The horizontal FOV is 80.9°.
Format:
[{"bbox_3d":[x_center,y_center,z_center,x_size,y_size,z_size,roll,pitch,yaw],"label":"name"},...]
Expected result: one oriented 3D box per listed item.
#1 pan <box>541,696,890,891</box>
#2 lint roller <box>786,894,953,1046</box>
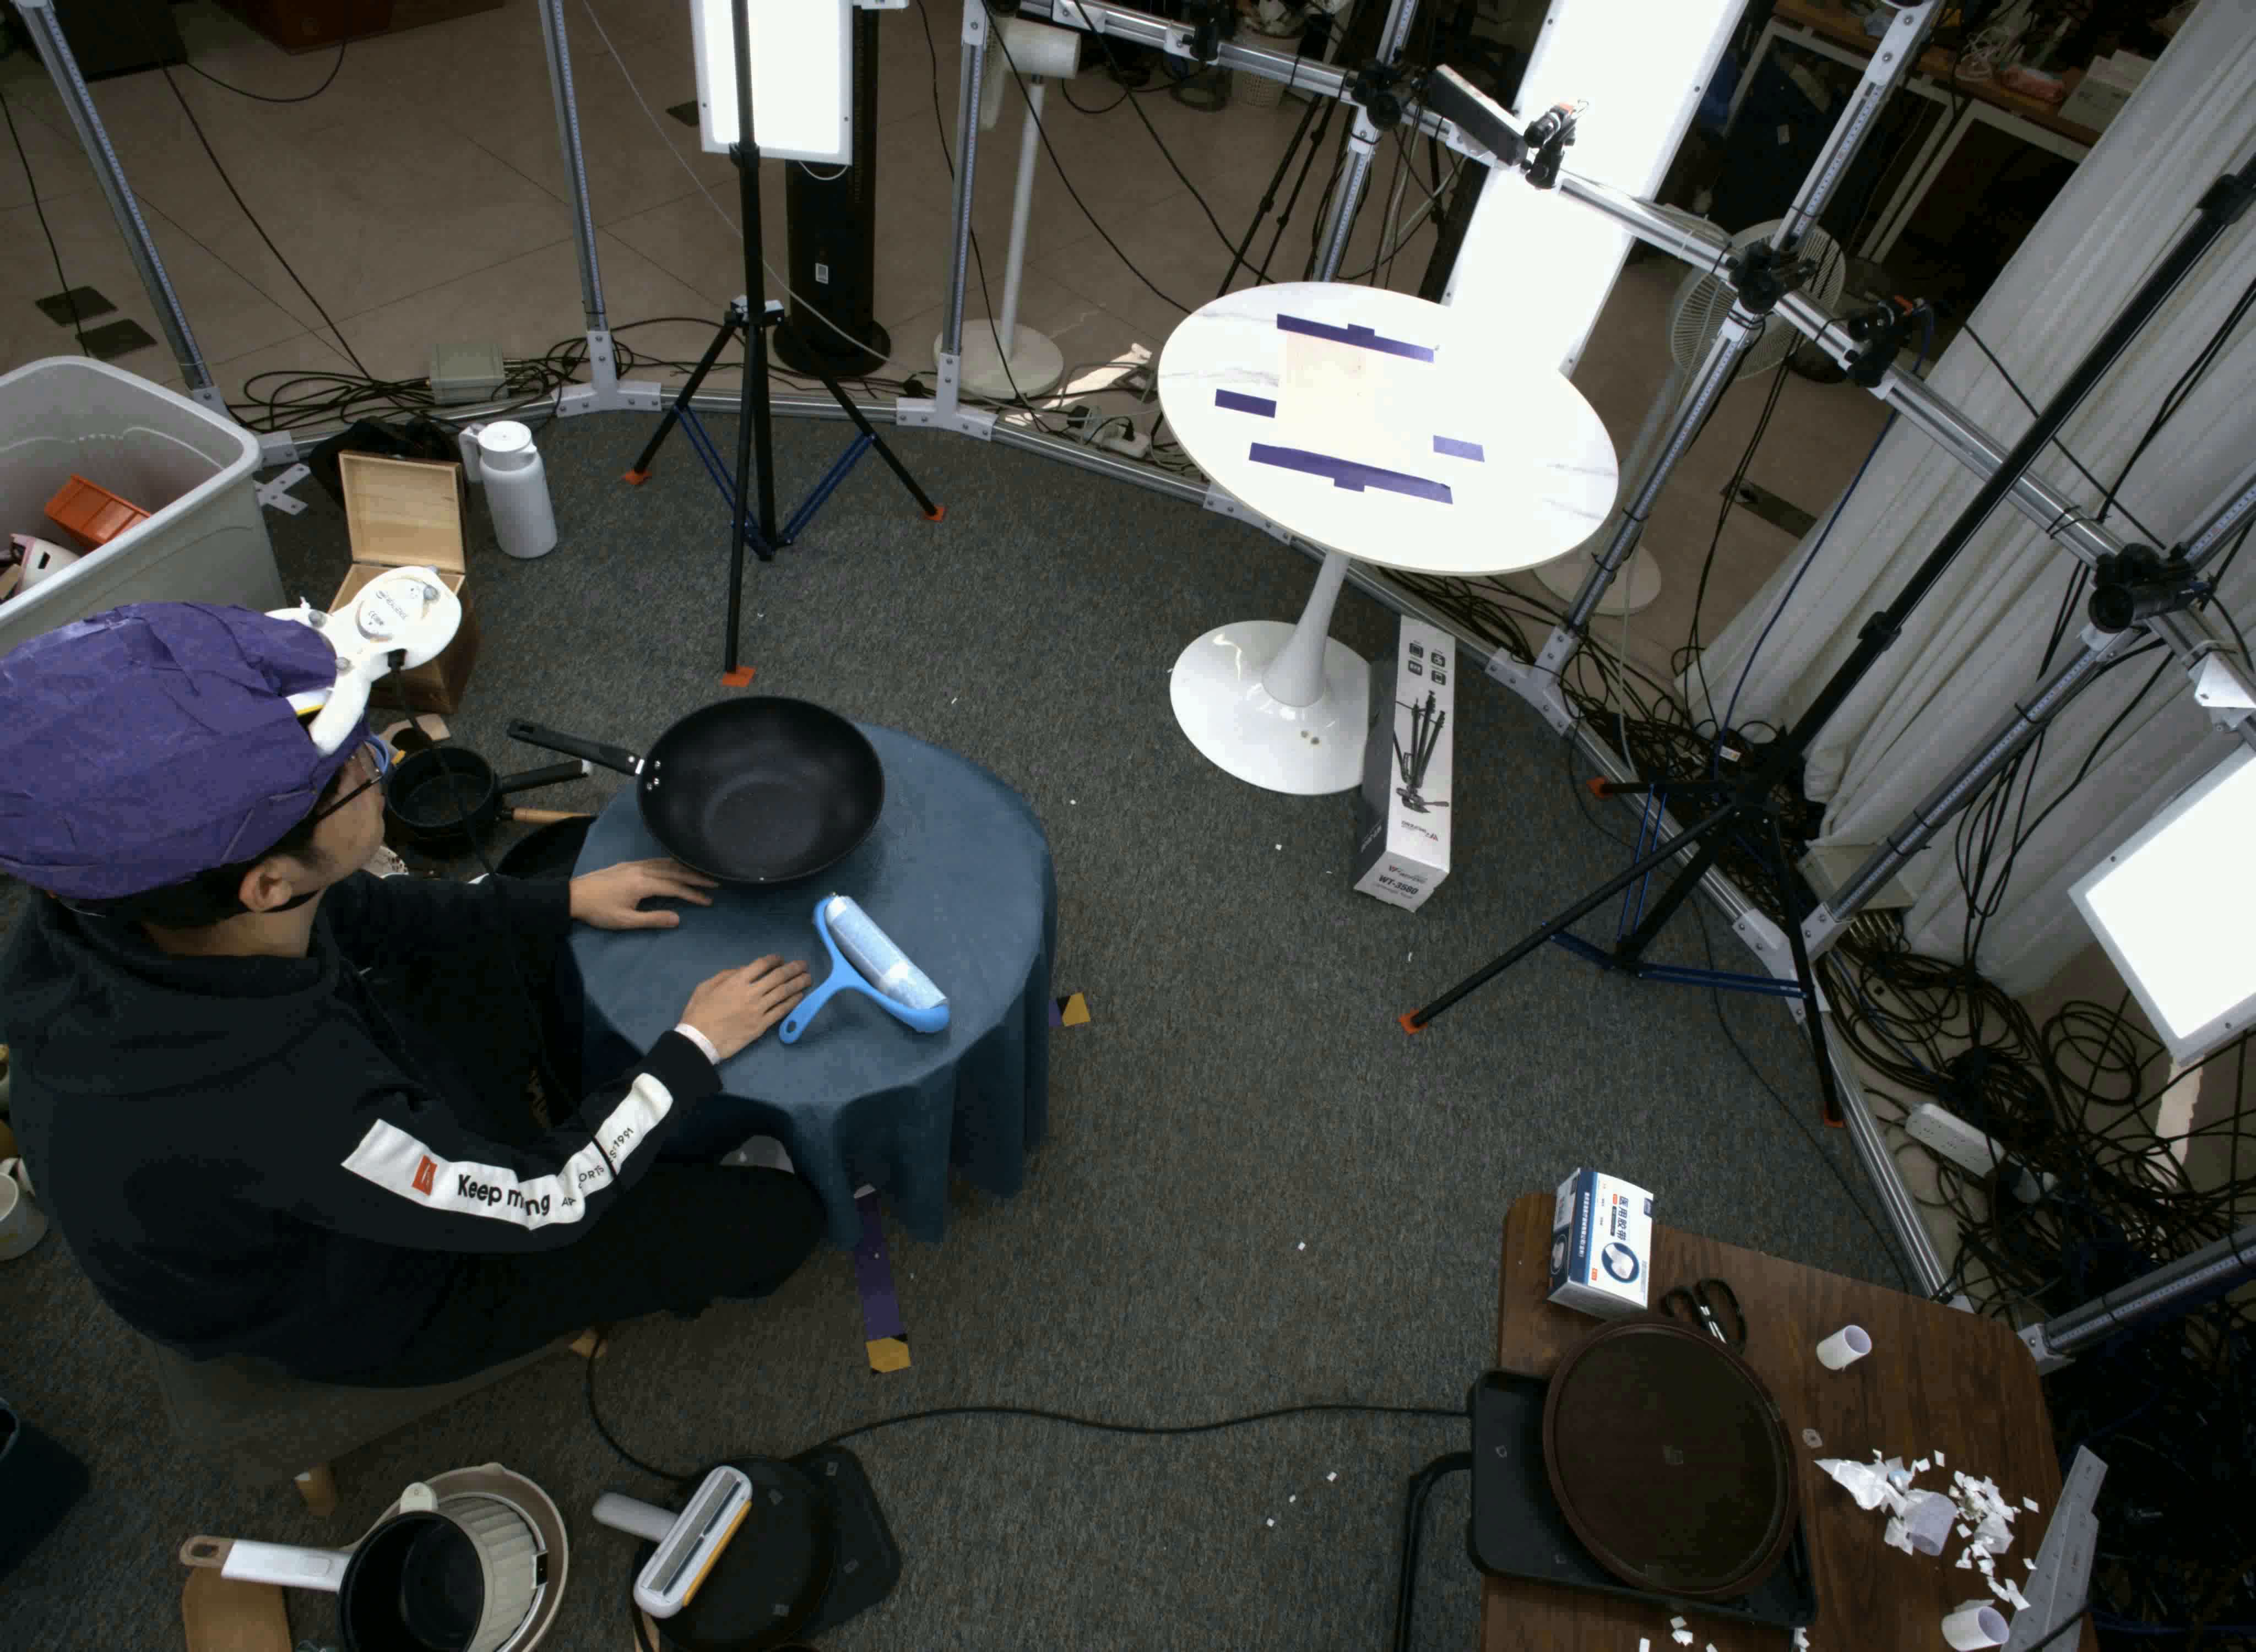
[{"bbox_3d":[-0.547,-0.050,1.666,0.476,0.114,0.305,10,51,-8],"label":"pan"},{"bbox_3d":[-0.339,0.194,1.573,0.225,0.069,0.180,41,55,14],"label":"lint roller"}]
